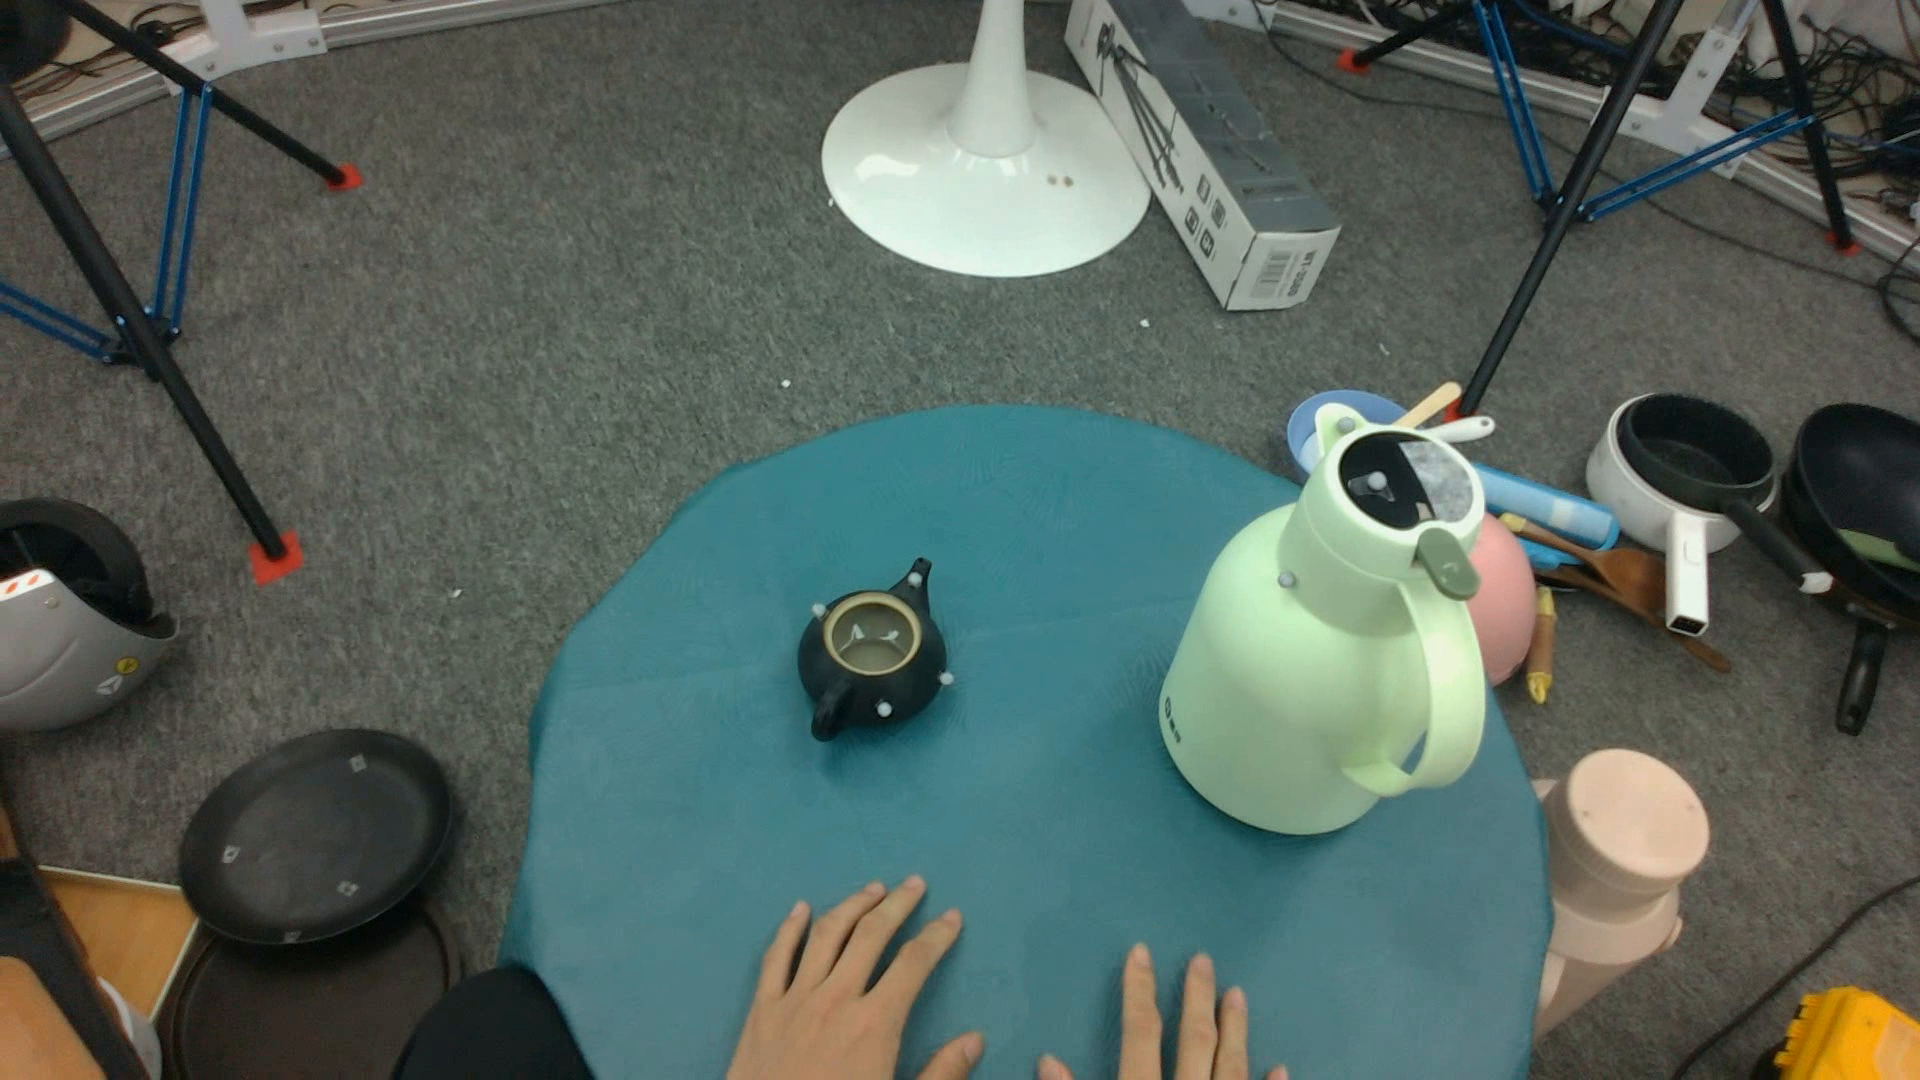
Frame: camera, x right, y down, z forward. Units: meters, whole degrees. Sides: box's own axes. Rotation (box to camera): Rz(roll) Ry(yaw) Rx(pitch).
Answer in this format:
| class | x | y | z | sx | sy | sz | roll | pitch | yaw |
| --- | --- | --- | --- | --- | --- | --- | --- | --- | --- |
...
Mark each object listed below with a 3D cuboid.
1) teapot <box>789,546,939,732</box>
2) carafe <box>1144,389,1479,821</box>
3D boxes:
| class | x | y | z | sx | sy | sz | roll | pitch | yaw |
| --- | --- | --- | --- | --- | --- | --- | --- | --- | --- |
| teapot | -0.058 | 0.064 | 0.830 | 0.091 | 0.053 | 0.134 | 24 | 54 | 14 |
| carafe | 0.200 | 0.051 | 0.745 | 0.144 | 0.255 | 0.187 | -8 | 58 | -14 |
